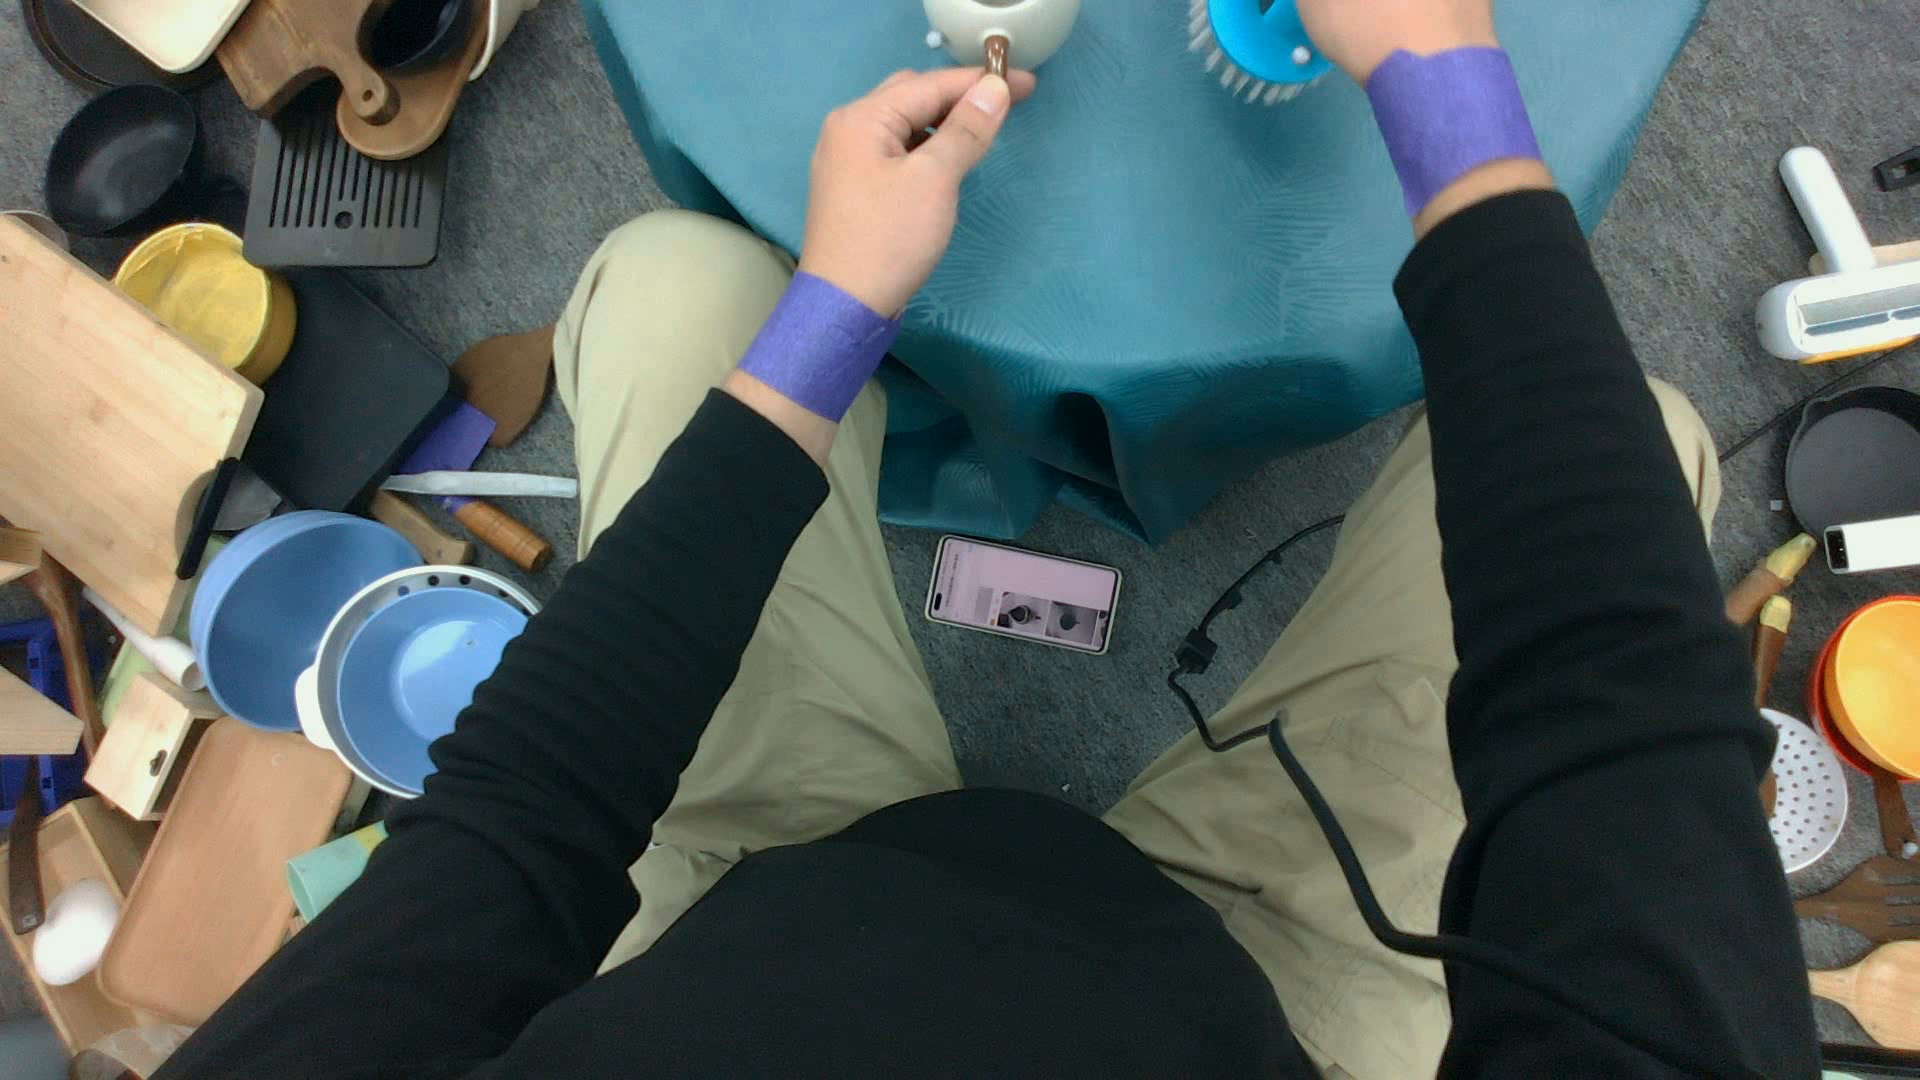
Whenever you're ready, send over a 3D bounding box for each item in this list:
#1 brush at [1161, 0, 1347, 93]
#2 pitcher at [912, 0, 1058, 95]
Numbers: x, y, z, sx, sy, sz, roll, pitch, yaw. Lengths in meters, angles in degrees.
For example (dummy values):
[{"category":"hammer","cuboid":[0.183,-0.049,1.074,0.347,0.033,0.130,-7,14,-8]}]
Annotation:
[{"category":"brush","cuboid":[0.141,-0.282,0.629,0.084,0.064,0.141,4,93,-4]},{"category":"pitcher","cuboid":[0.011,-0.264,0.657,0.076,0.088,0.119,5,83,8]}]
